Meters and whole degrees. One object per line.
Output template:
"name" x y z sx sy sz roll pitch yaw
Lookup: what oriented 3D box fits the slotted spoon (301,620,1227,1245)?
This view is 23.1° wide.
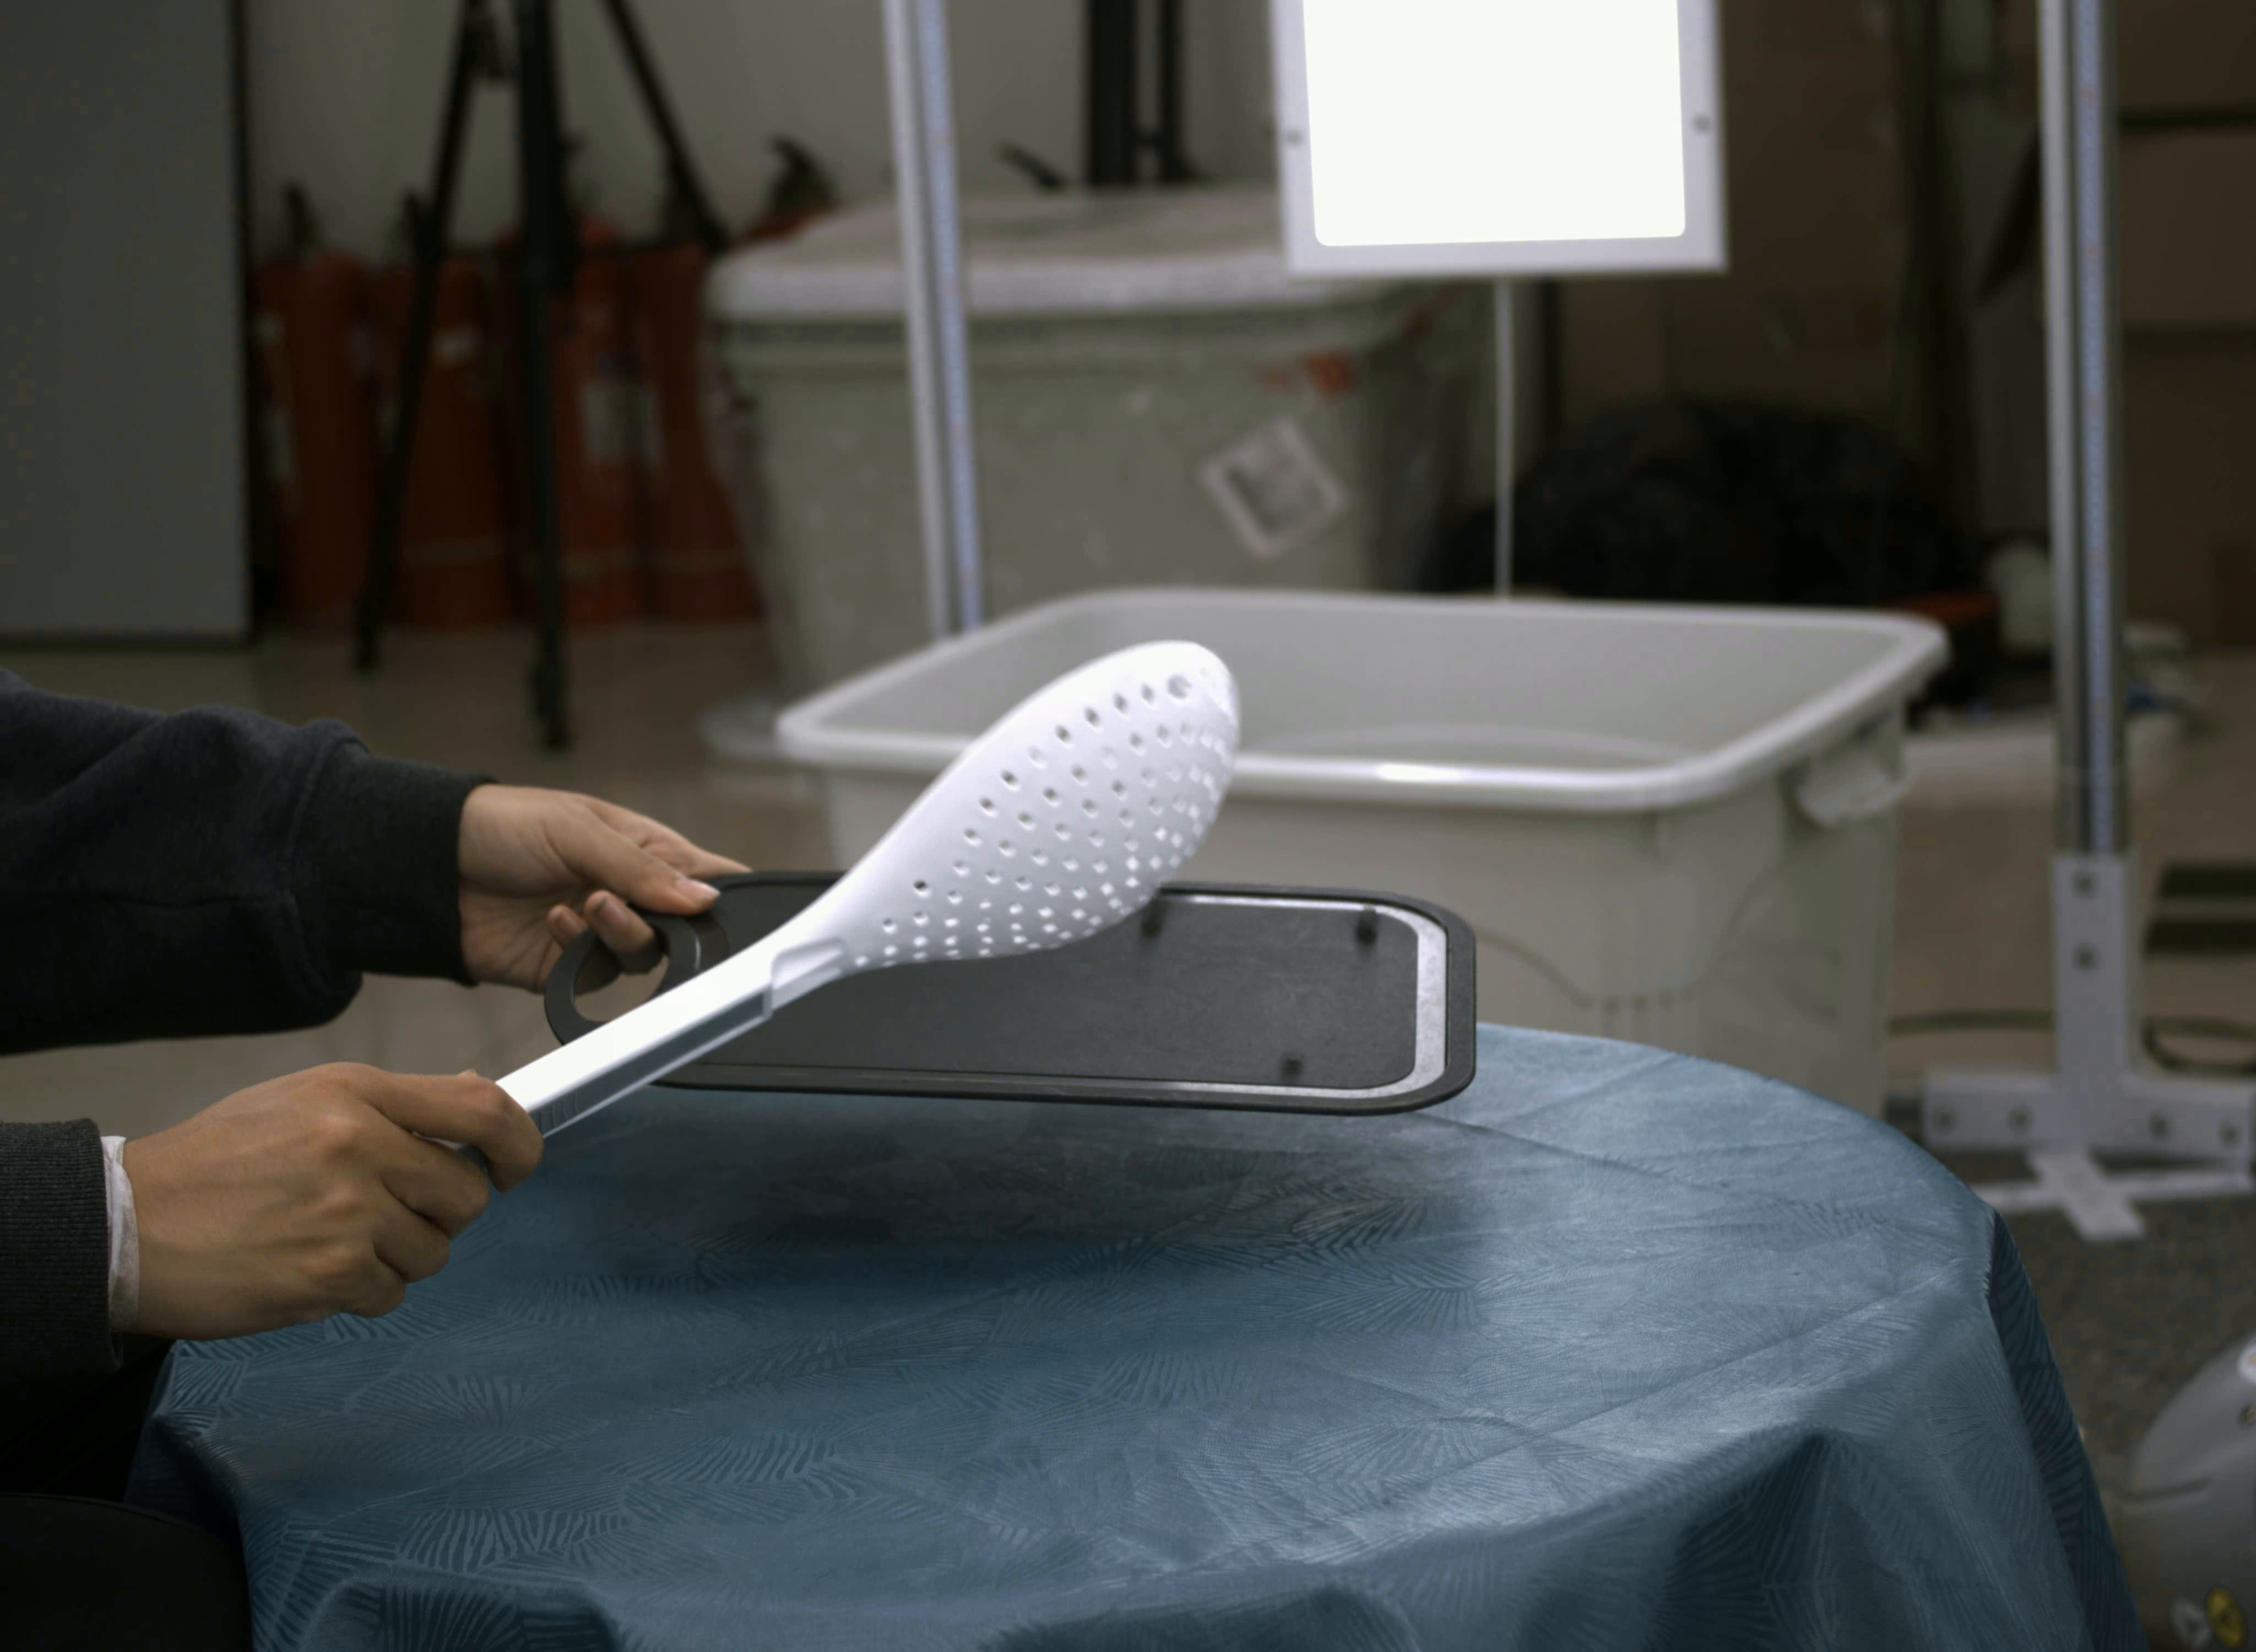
"slotted spoon" -0.107 0.040 1.741 0.344 0.137 0.046 -25 57 -17

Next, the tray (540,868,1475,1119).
"tray" -0.042 0.054 1.916 0.326 0.010 0.209 2 20 5
